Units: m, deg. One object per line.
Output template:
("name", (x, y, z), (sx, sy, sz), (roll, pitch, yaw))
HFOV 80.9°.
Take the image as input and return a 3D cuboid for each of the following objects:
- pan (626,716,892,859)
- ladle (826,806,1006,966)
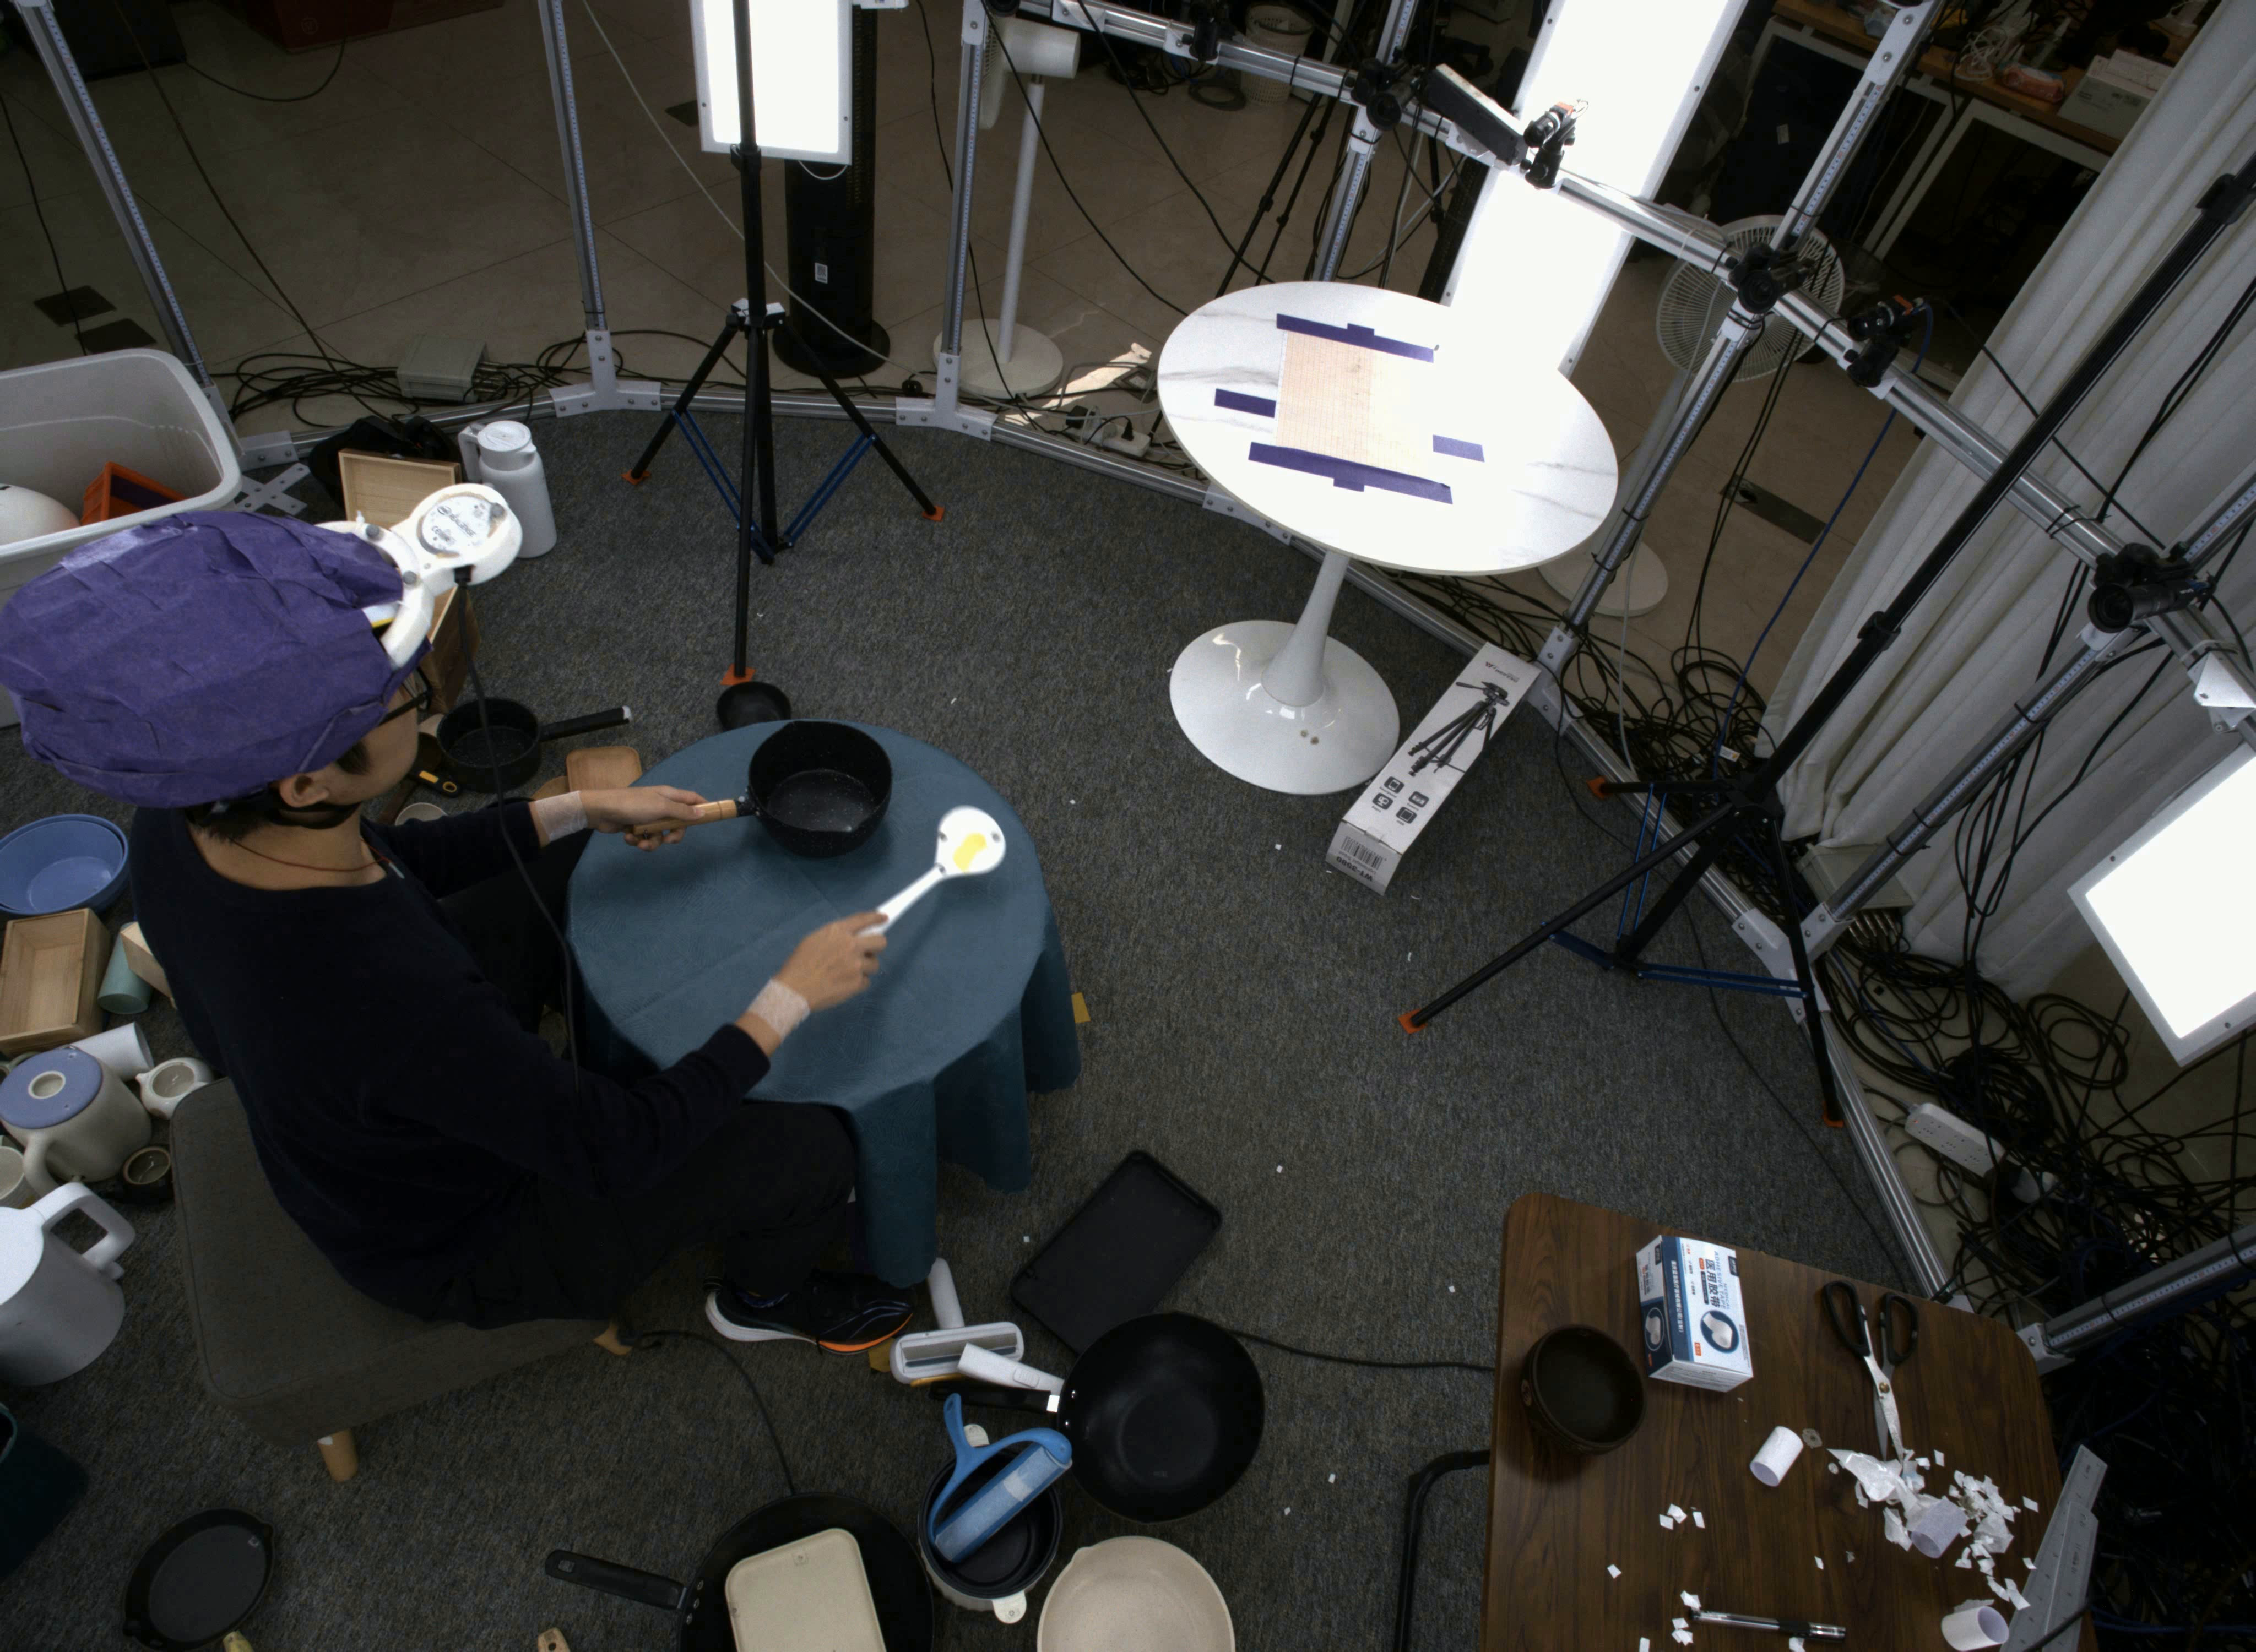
("pan", (-0.468, -0.025, 1.651), (0.345, 0.110, 0.202), (-21, 62, -29))
("ladle", (-0.256, 0.072, 1.585), (0.091, 0.069, 0.293), (50, 40, -3))
